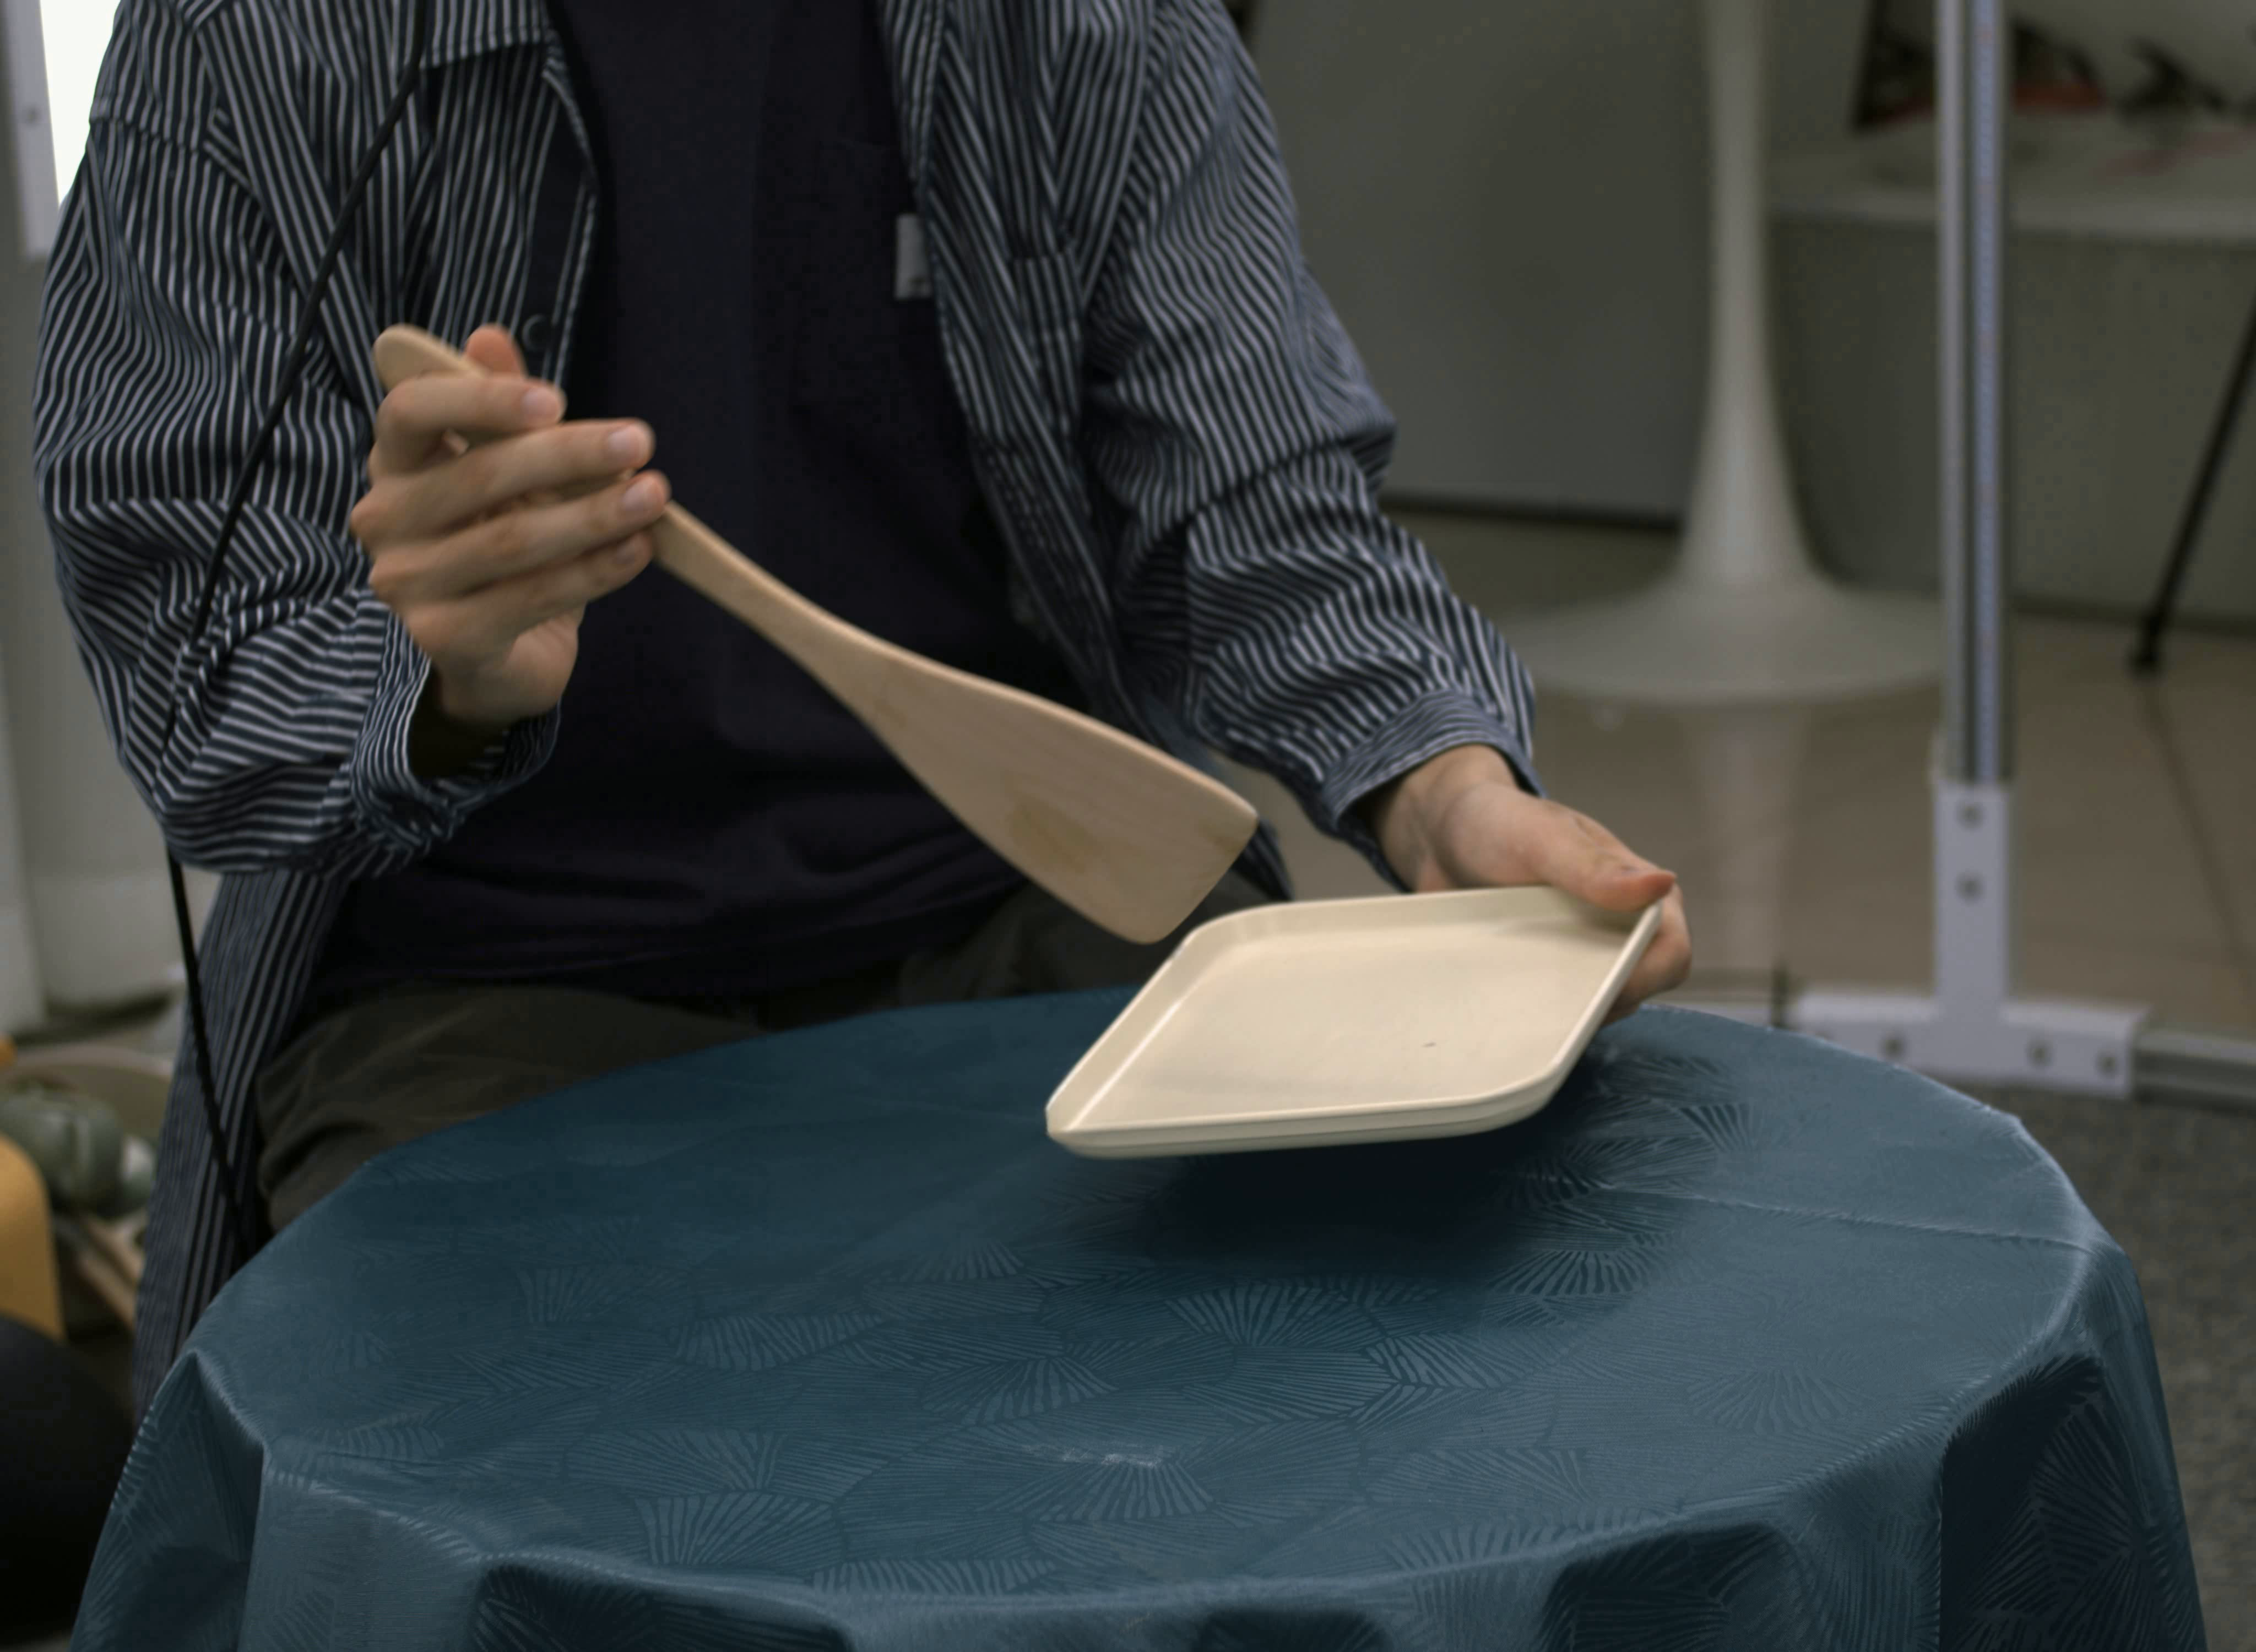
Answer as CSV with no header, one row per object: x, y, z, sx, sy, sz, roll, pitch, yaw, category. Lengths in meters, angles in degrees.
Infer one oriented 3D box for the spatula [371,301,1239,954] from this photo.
-0.109,-0.069,1.697,0.328,0.081,0.016,36,44,13,spatula

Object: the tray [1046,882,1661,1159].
0.078,0.063,1.760,0.171,0.017,0.238,-5,14,18,tray
